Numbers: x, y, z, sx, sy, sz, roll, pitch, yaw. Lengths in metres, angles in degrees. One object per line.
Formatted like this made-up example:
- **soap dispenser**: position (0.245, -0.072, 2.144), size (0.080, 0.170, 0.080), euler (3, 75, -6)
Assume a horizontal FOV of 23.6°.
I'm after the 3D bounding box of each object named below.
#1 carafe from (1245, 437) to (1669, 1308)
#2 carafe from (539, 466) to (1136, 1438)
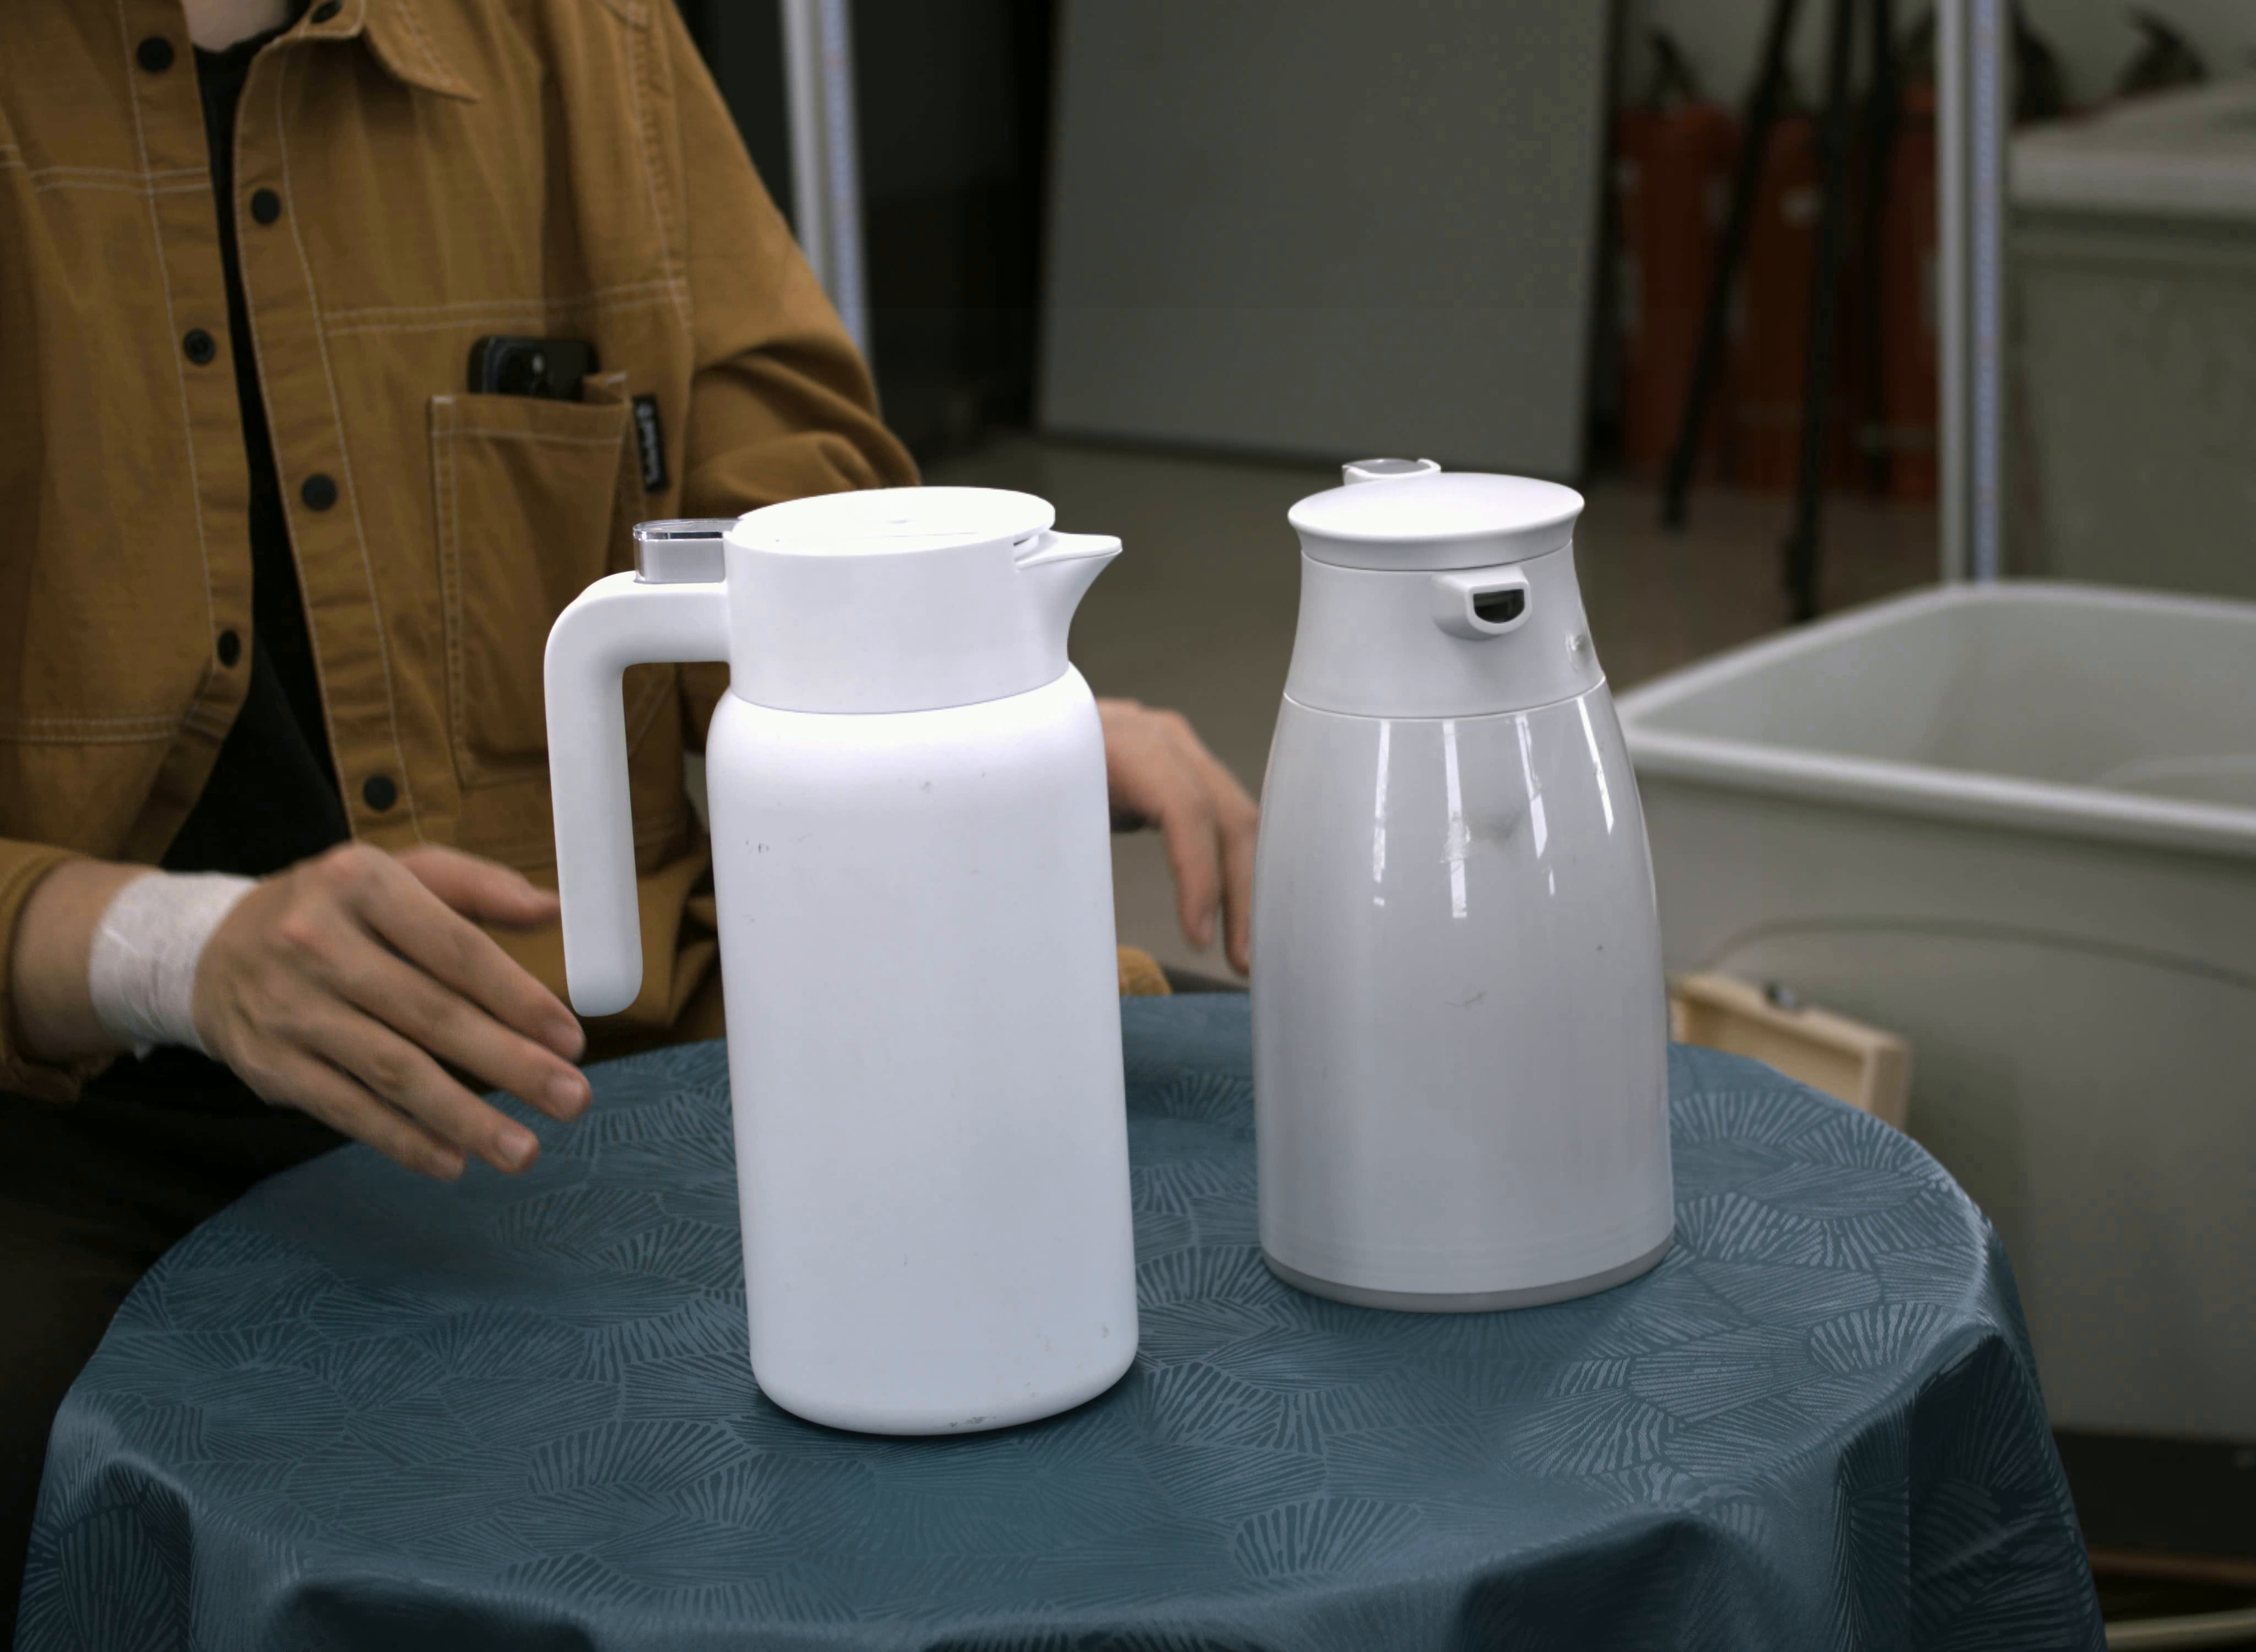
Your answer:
- **carafe**: position (0.093, 0.006, 1.687), size (0.130, 0.251, 0.169), euler (-7, 13, -13)
- **carafe**: position (-0.080, 0.036, 1.581), size (0.171, 0.272, 0.123), euler (-2, 15, 8)
